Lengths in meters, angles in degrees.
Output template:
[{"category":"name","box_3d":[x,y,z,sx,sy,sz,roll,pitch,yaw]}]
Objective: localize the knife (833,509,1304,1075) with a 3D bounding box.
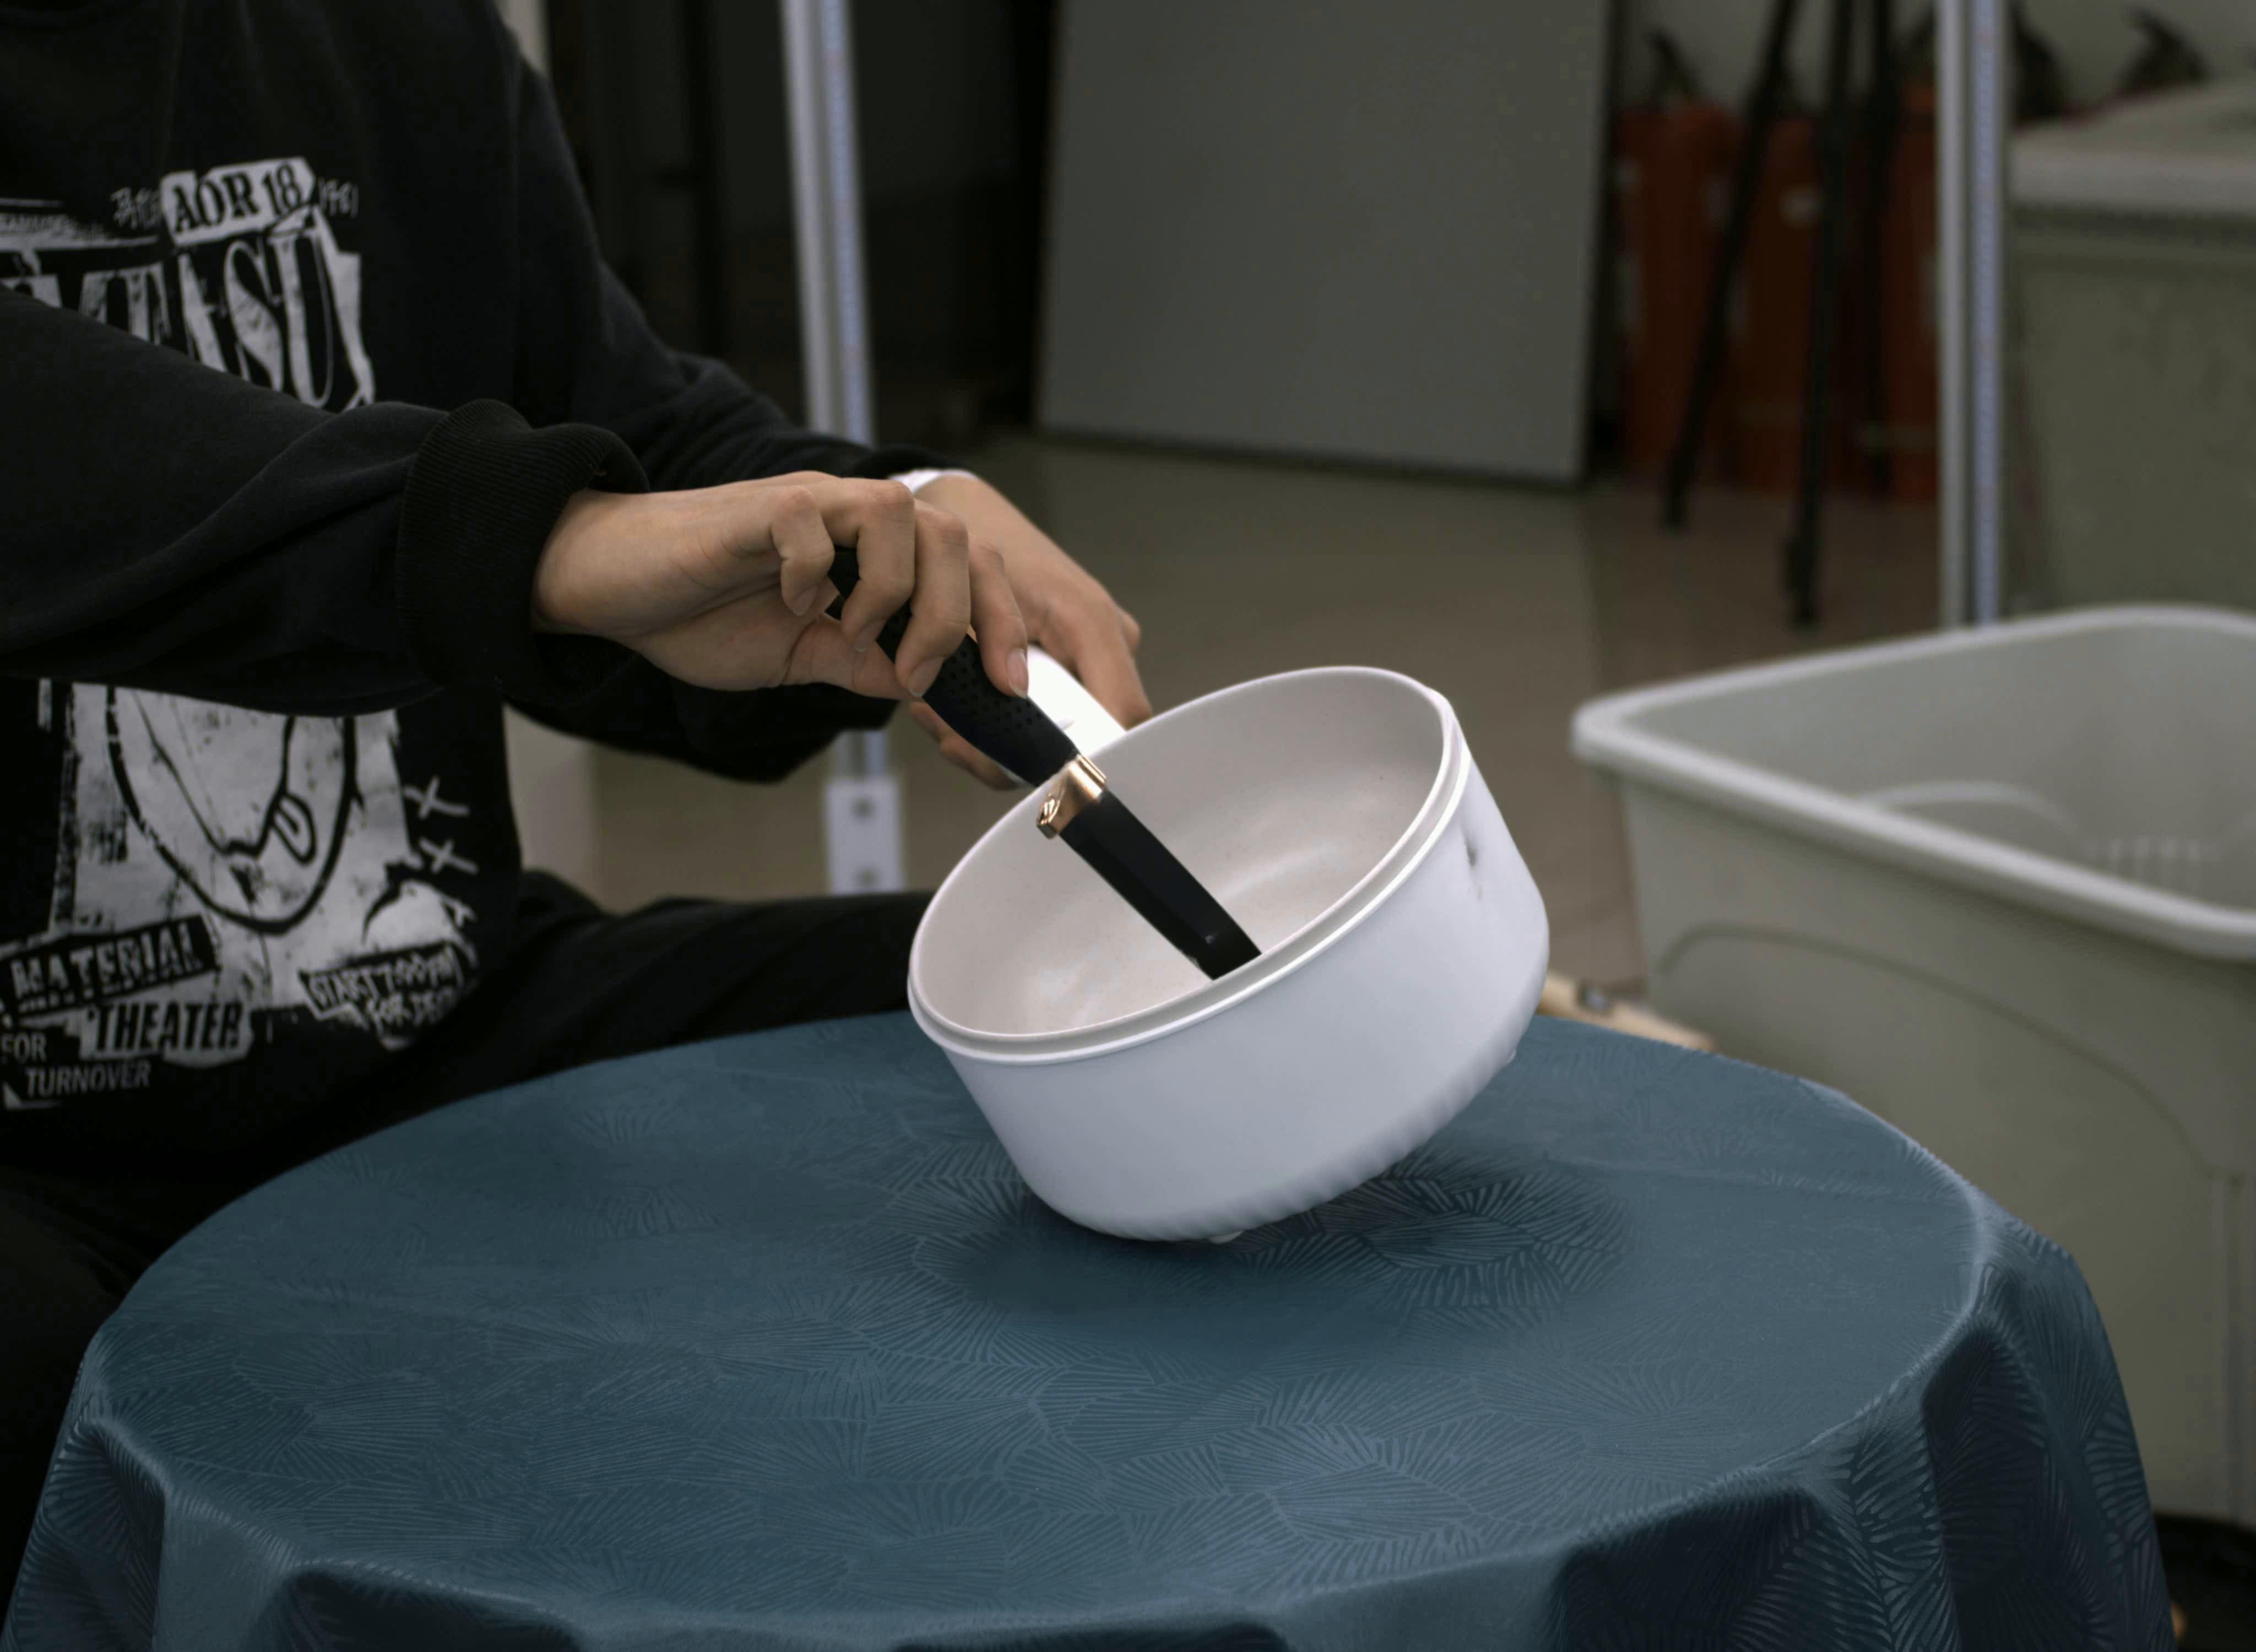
[{"category":"knife","box_3d":[-0.014,-0.009,1.638,0.026,0.224,0.017,-49,18,-25]}]

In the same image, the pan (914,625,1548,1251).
[{"category":"pan","box_3d":[0.016,0.025,1.818,0.200,0.102,0.358,-35,24,-5]}]
